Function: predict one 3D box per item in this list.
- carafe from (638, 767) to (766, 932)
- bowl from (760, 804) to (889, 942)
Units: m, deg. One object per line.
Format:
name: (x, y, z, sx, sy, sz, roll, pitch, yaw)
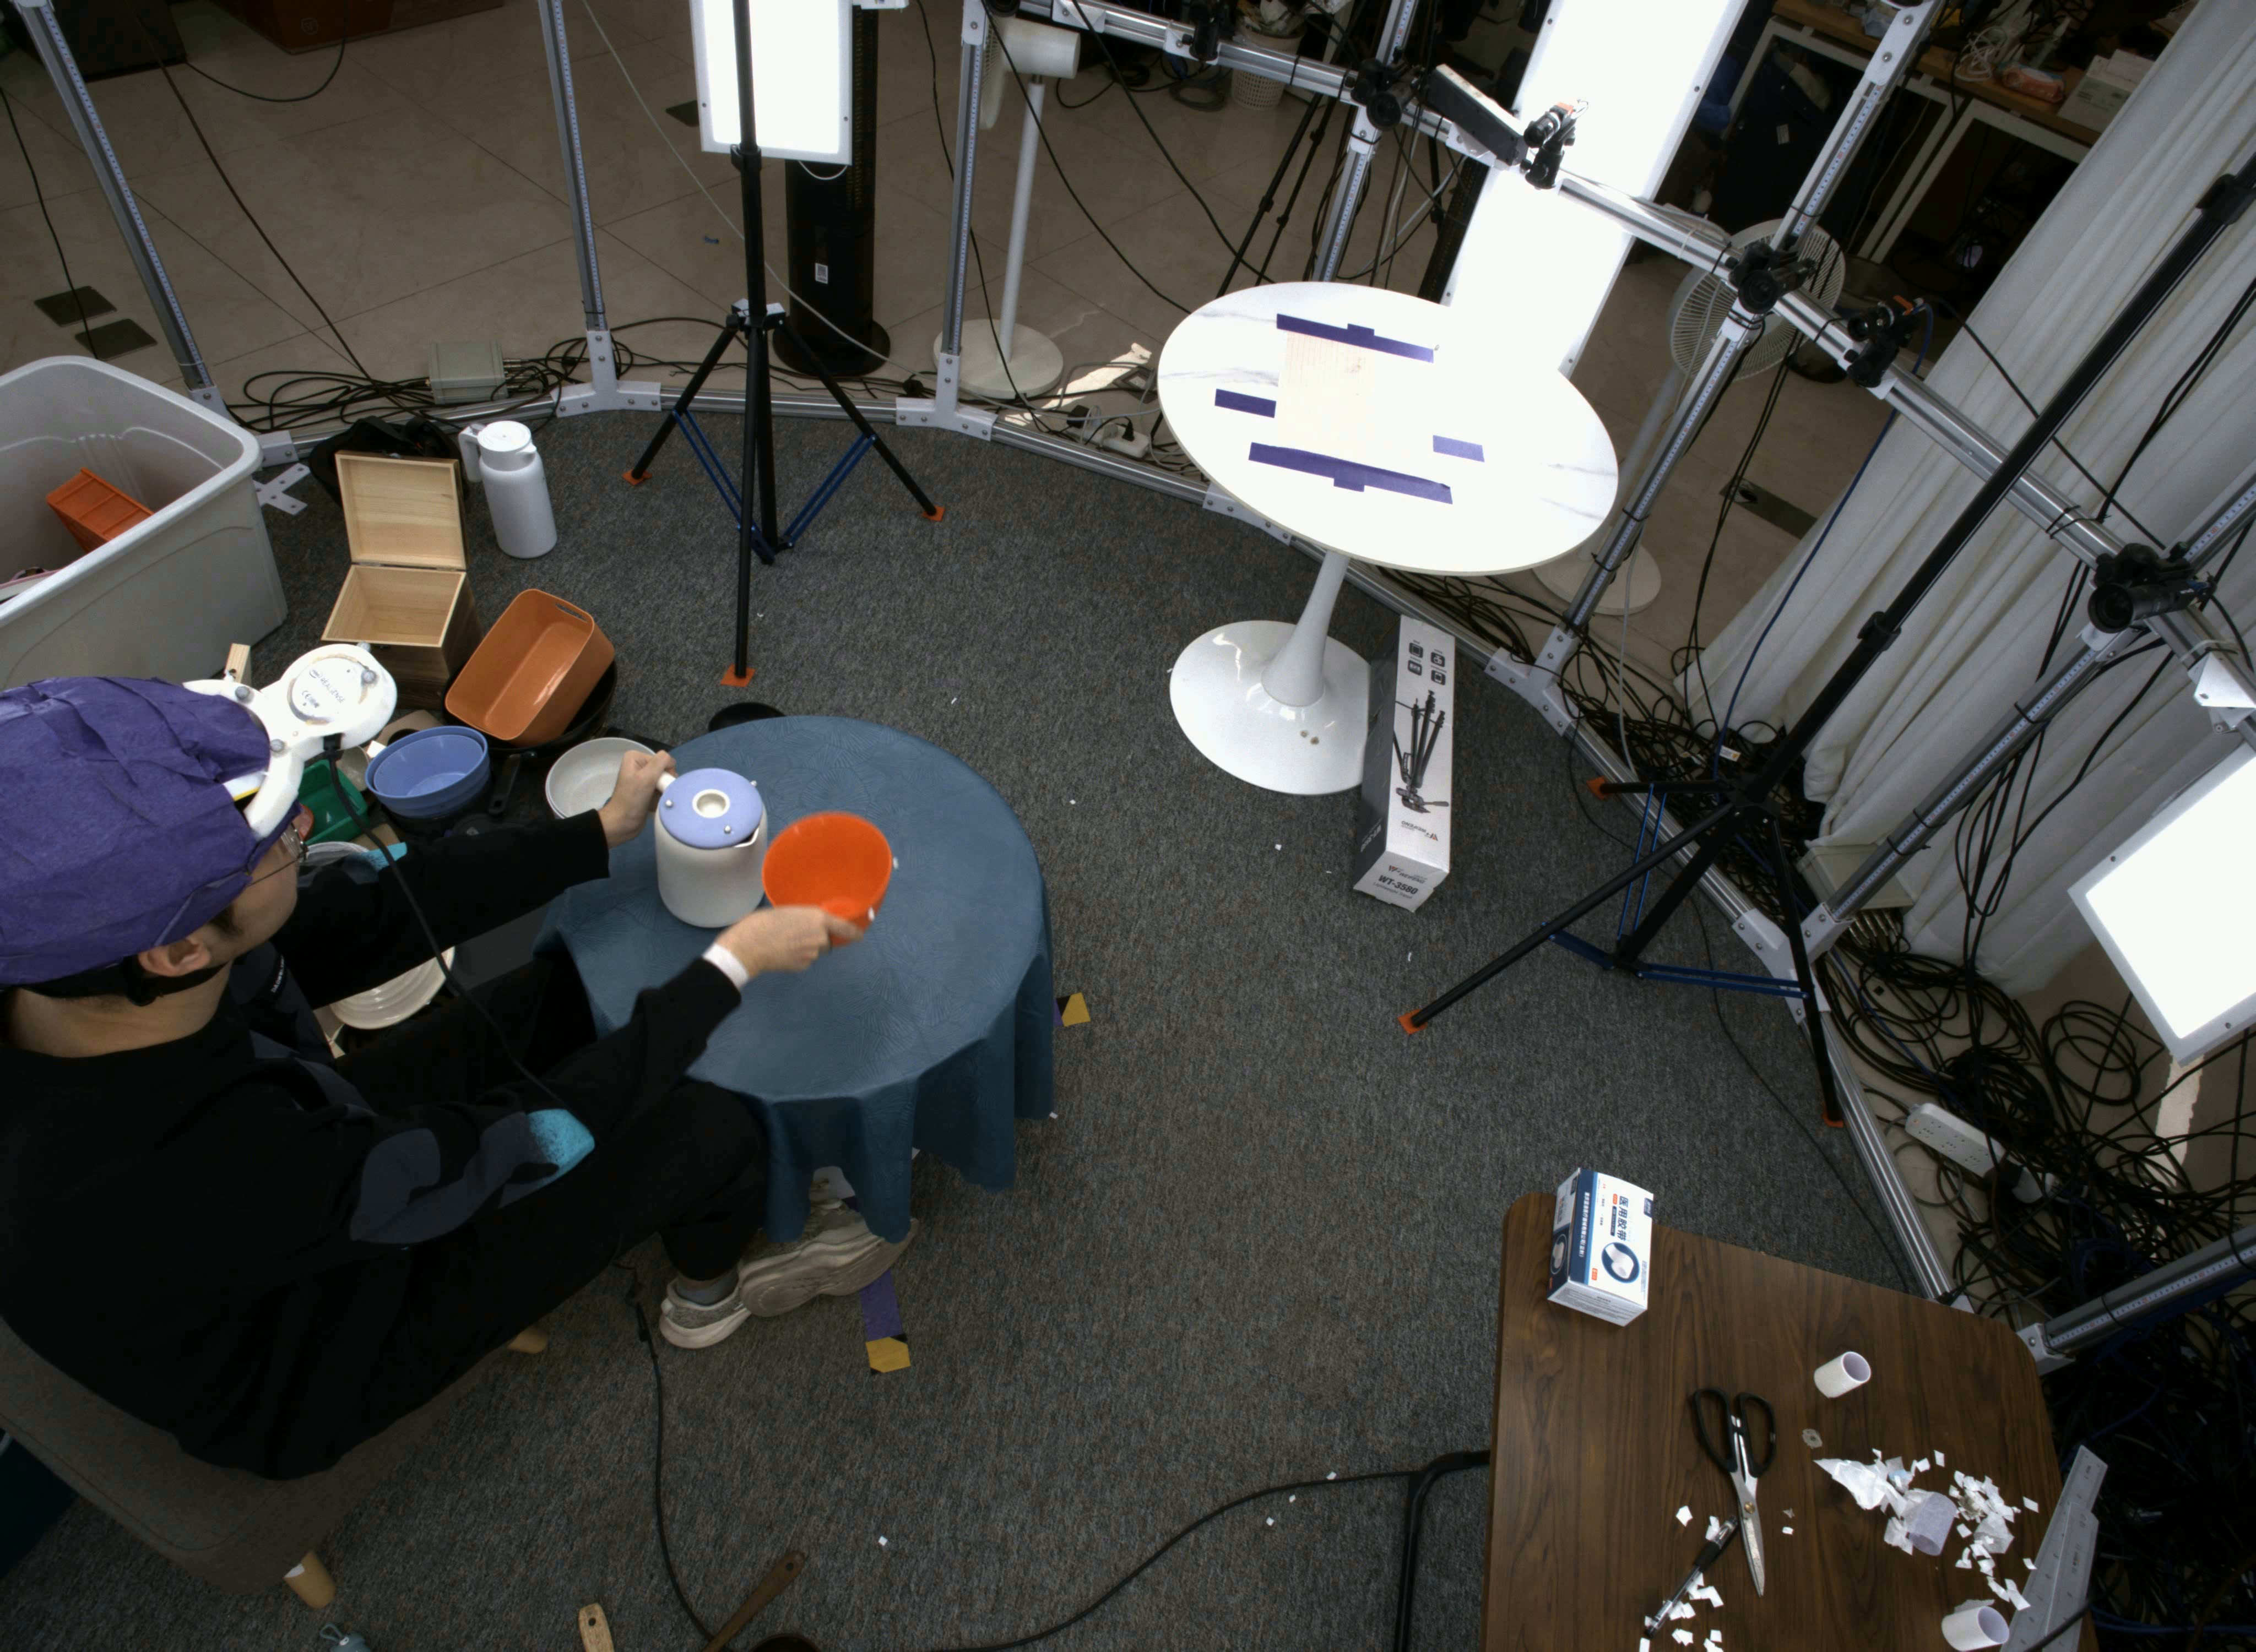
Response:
carafe: (-0.529, 0.014, 1.576, 0.188, 0.186, 0.132, 33, 50, 12)
bowl: (-0.342, 0.064, 1.498, 0.146, 0.108, 0.145, 0, 47, 2)
